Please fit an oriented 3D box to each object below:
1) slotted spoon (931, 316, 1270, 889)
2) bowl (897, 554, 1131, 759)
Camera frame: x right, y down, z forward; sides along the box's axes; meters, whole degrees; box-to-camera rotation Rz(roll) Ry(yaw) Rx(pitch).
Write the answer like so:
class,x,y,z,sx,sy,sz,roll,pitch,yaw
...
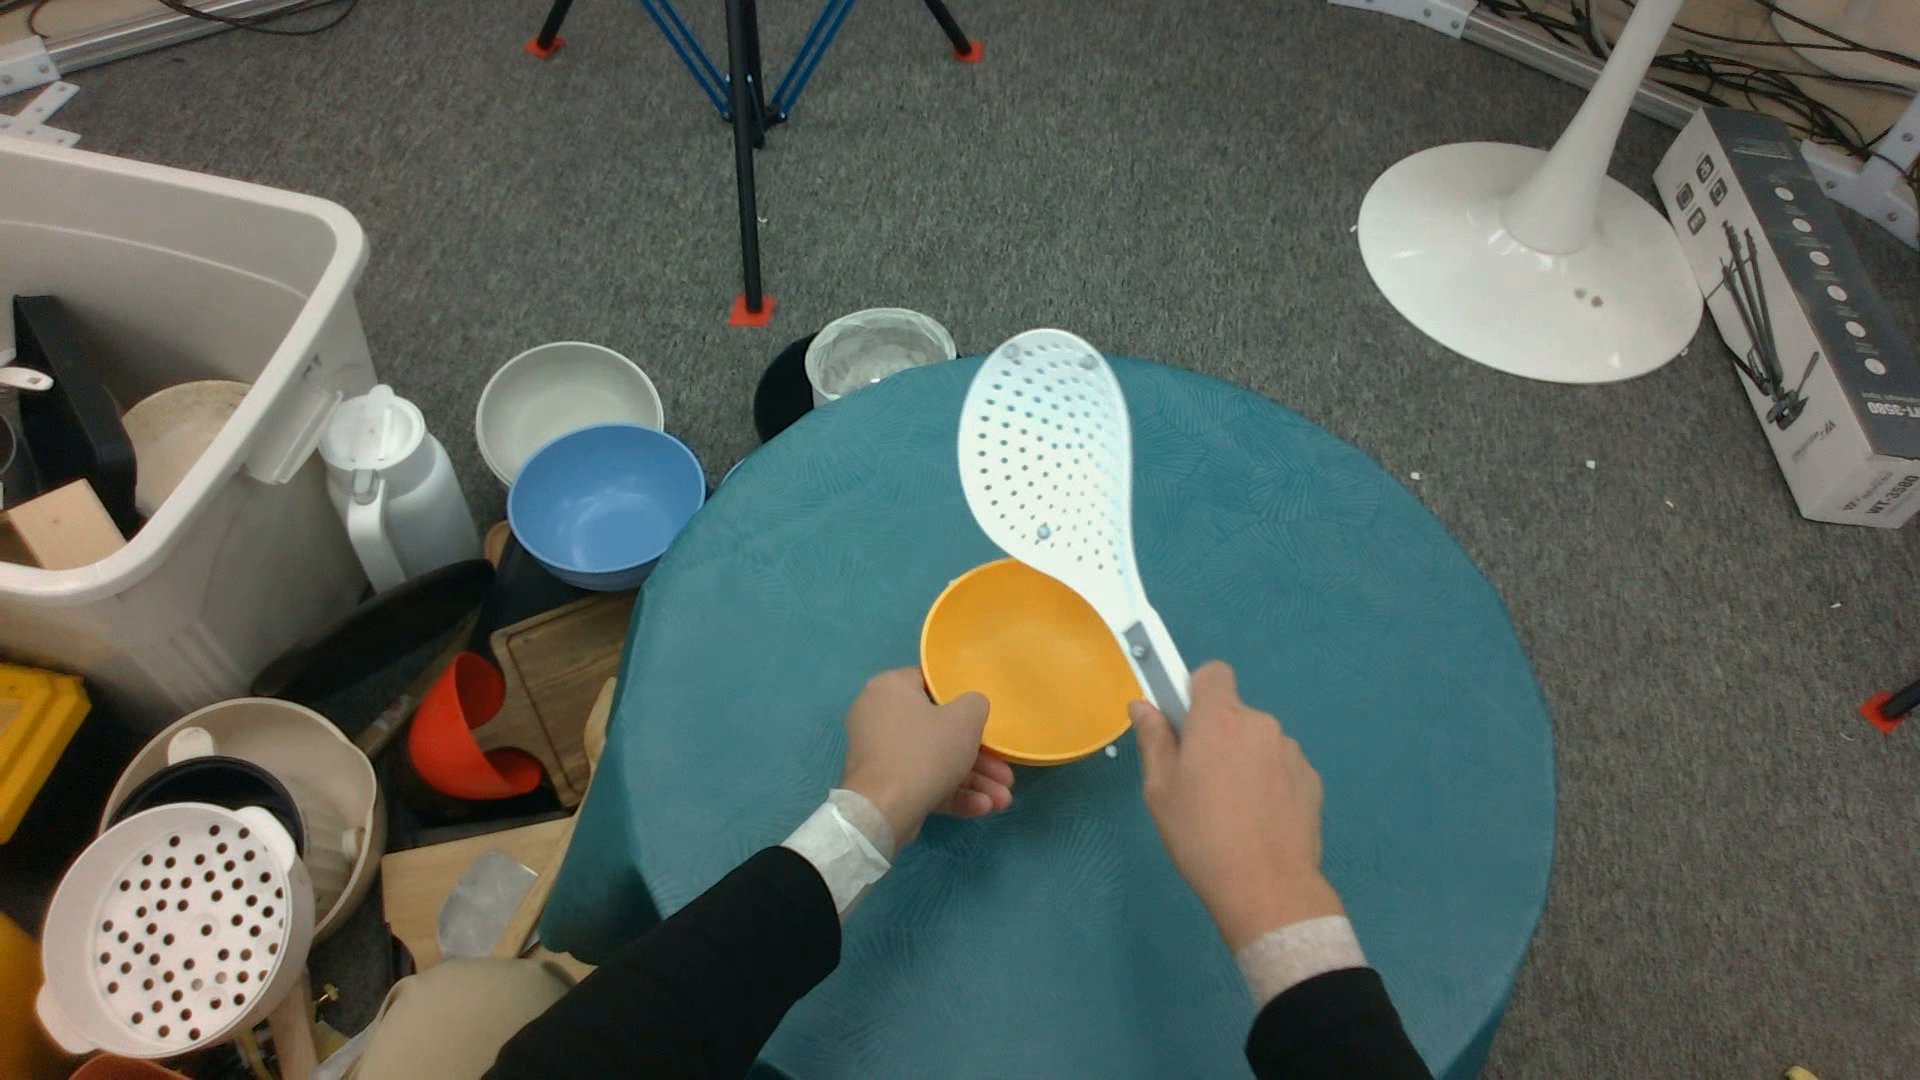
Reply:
class,x,y,z,sx,sy,sz,roll,pitch,yaw
slotted spoon,0.079,0.028,0.769,0.046,0.135,0.350,2,56,-42
bowl,0.032,0.082,0.862,0.145,0.060,0.146,2,52,-3
